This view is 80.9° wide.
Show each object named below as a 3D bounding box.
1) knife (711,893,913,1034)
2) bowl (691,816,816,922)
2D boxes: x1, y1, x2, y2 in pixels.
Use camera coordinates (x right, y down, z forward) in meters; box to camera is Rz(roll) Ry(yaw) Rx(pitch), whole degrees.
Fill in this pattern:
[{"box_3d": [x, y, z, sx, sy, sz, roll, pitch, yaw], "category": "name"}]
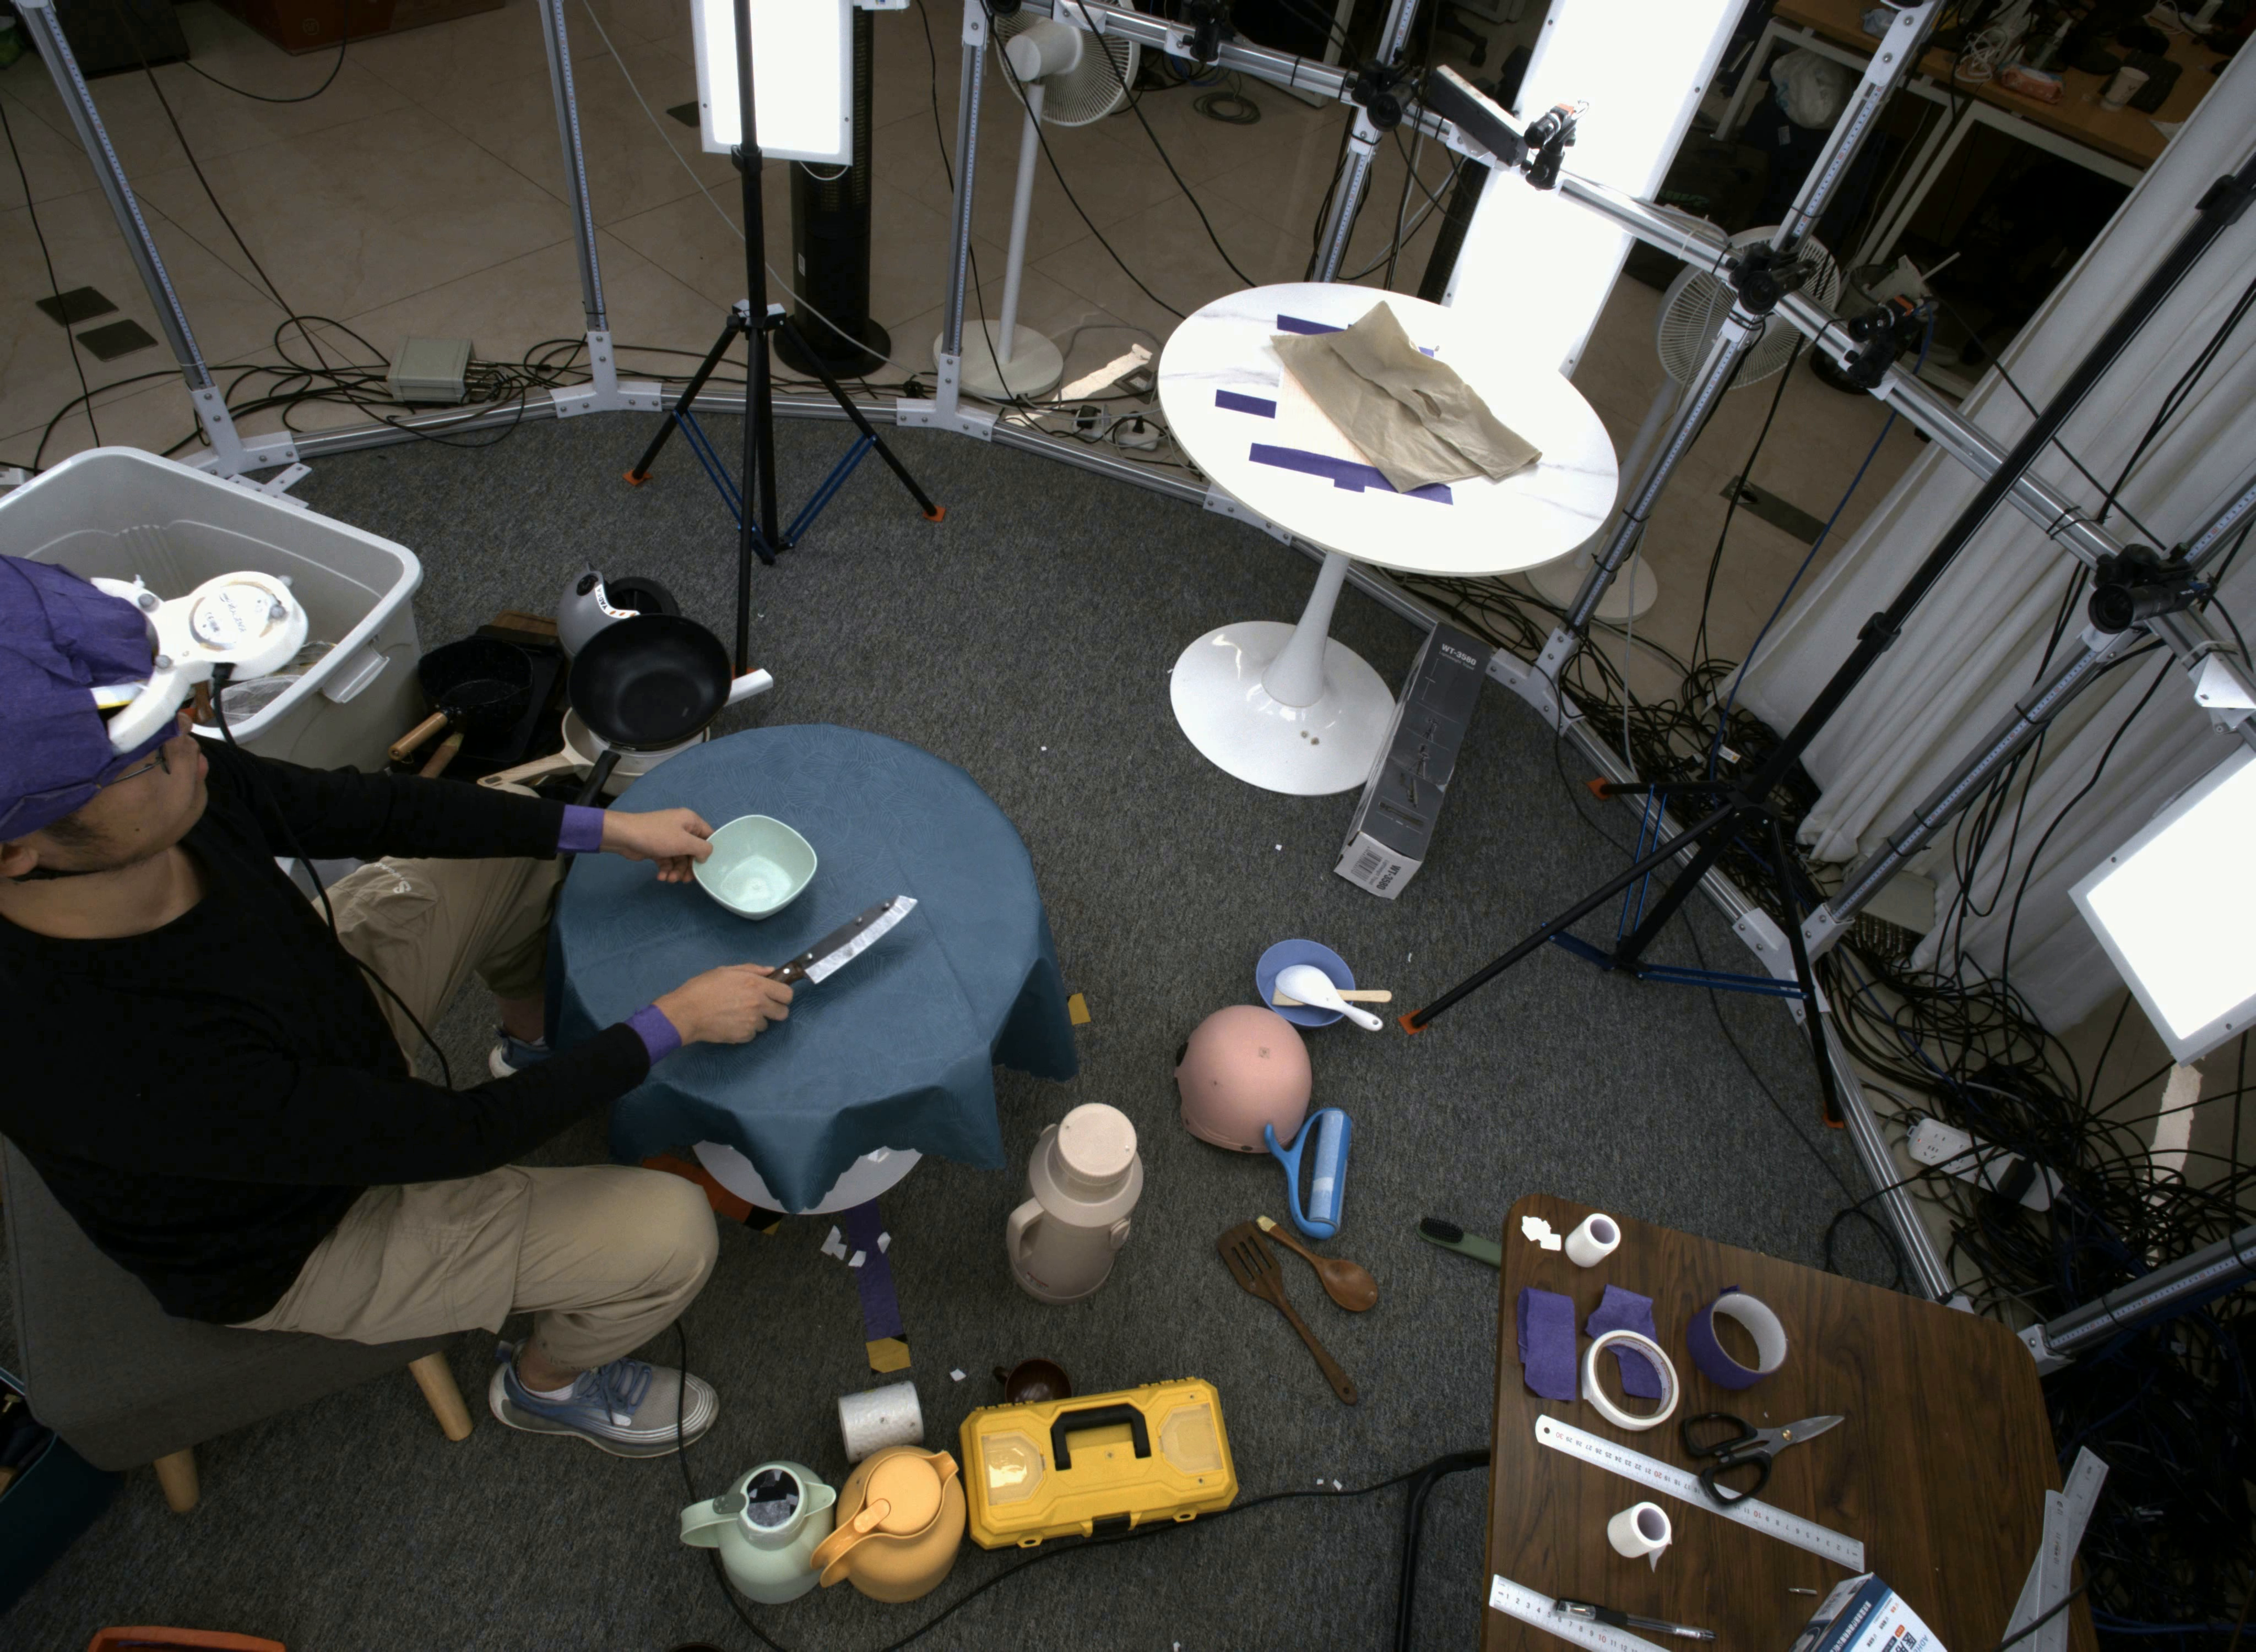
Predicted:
[{"box_3d": [-0.375, 0.158, 1.561, 0.289, 0.020, 0.049, -35, 72, -28], "category": "knife"}, {"box_3d": [-0.468, 0.062, 1.621, 0.151, 0.060, 0.148, 10, 50, -10], "category": "bowl"}]
